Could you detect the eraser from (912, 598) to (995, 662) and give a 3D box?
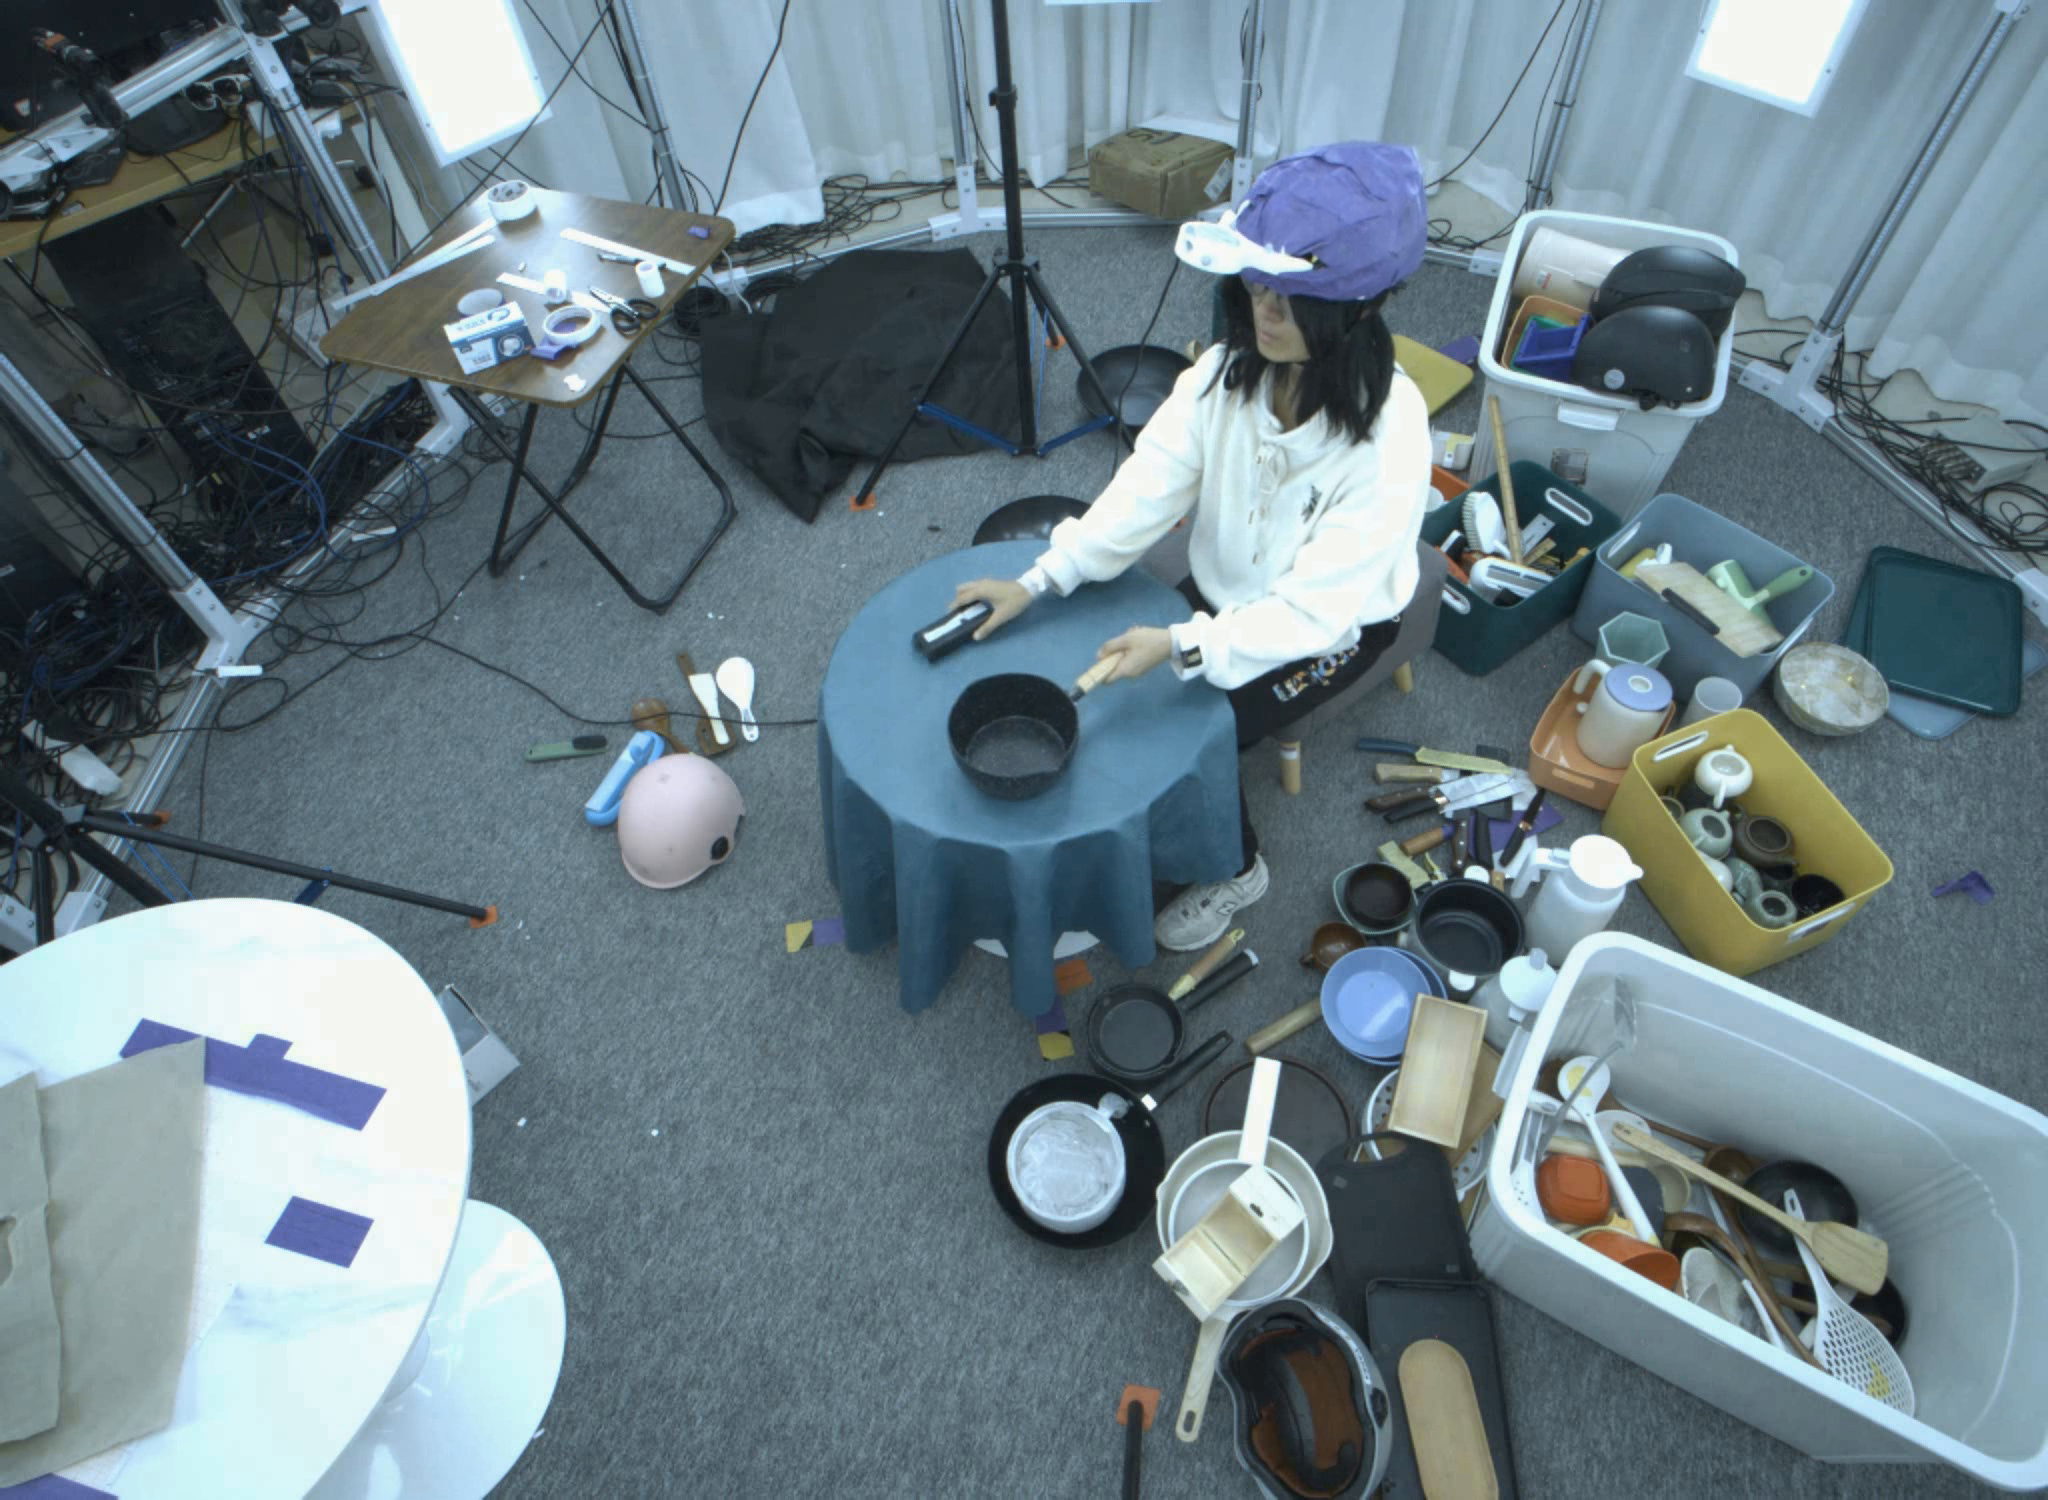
[{"bbox_3d":[-0.109,-0.186,1.905,0.126,0.031,0.052,-32,59,-18],"label":"eraser"}]

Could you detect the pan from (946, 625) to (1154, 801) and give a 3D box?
[{"bbox_3d":[0.047,-0.062,1.760,0.345,0.109,0.203,-34,61,-19],"label":"pan"}]
